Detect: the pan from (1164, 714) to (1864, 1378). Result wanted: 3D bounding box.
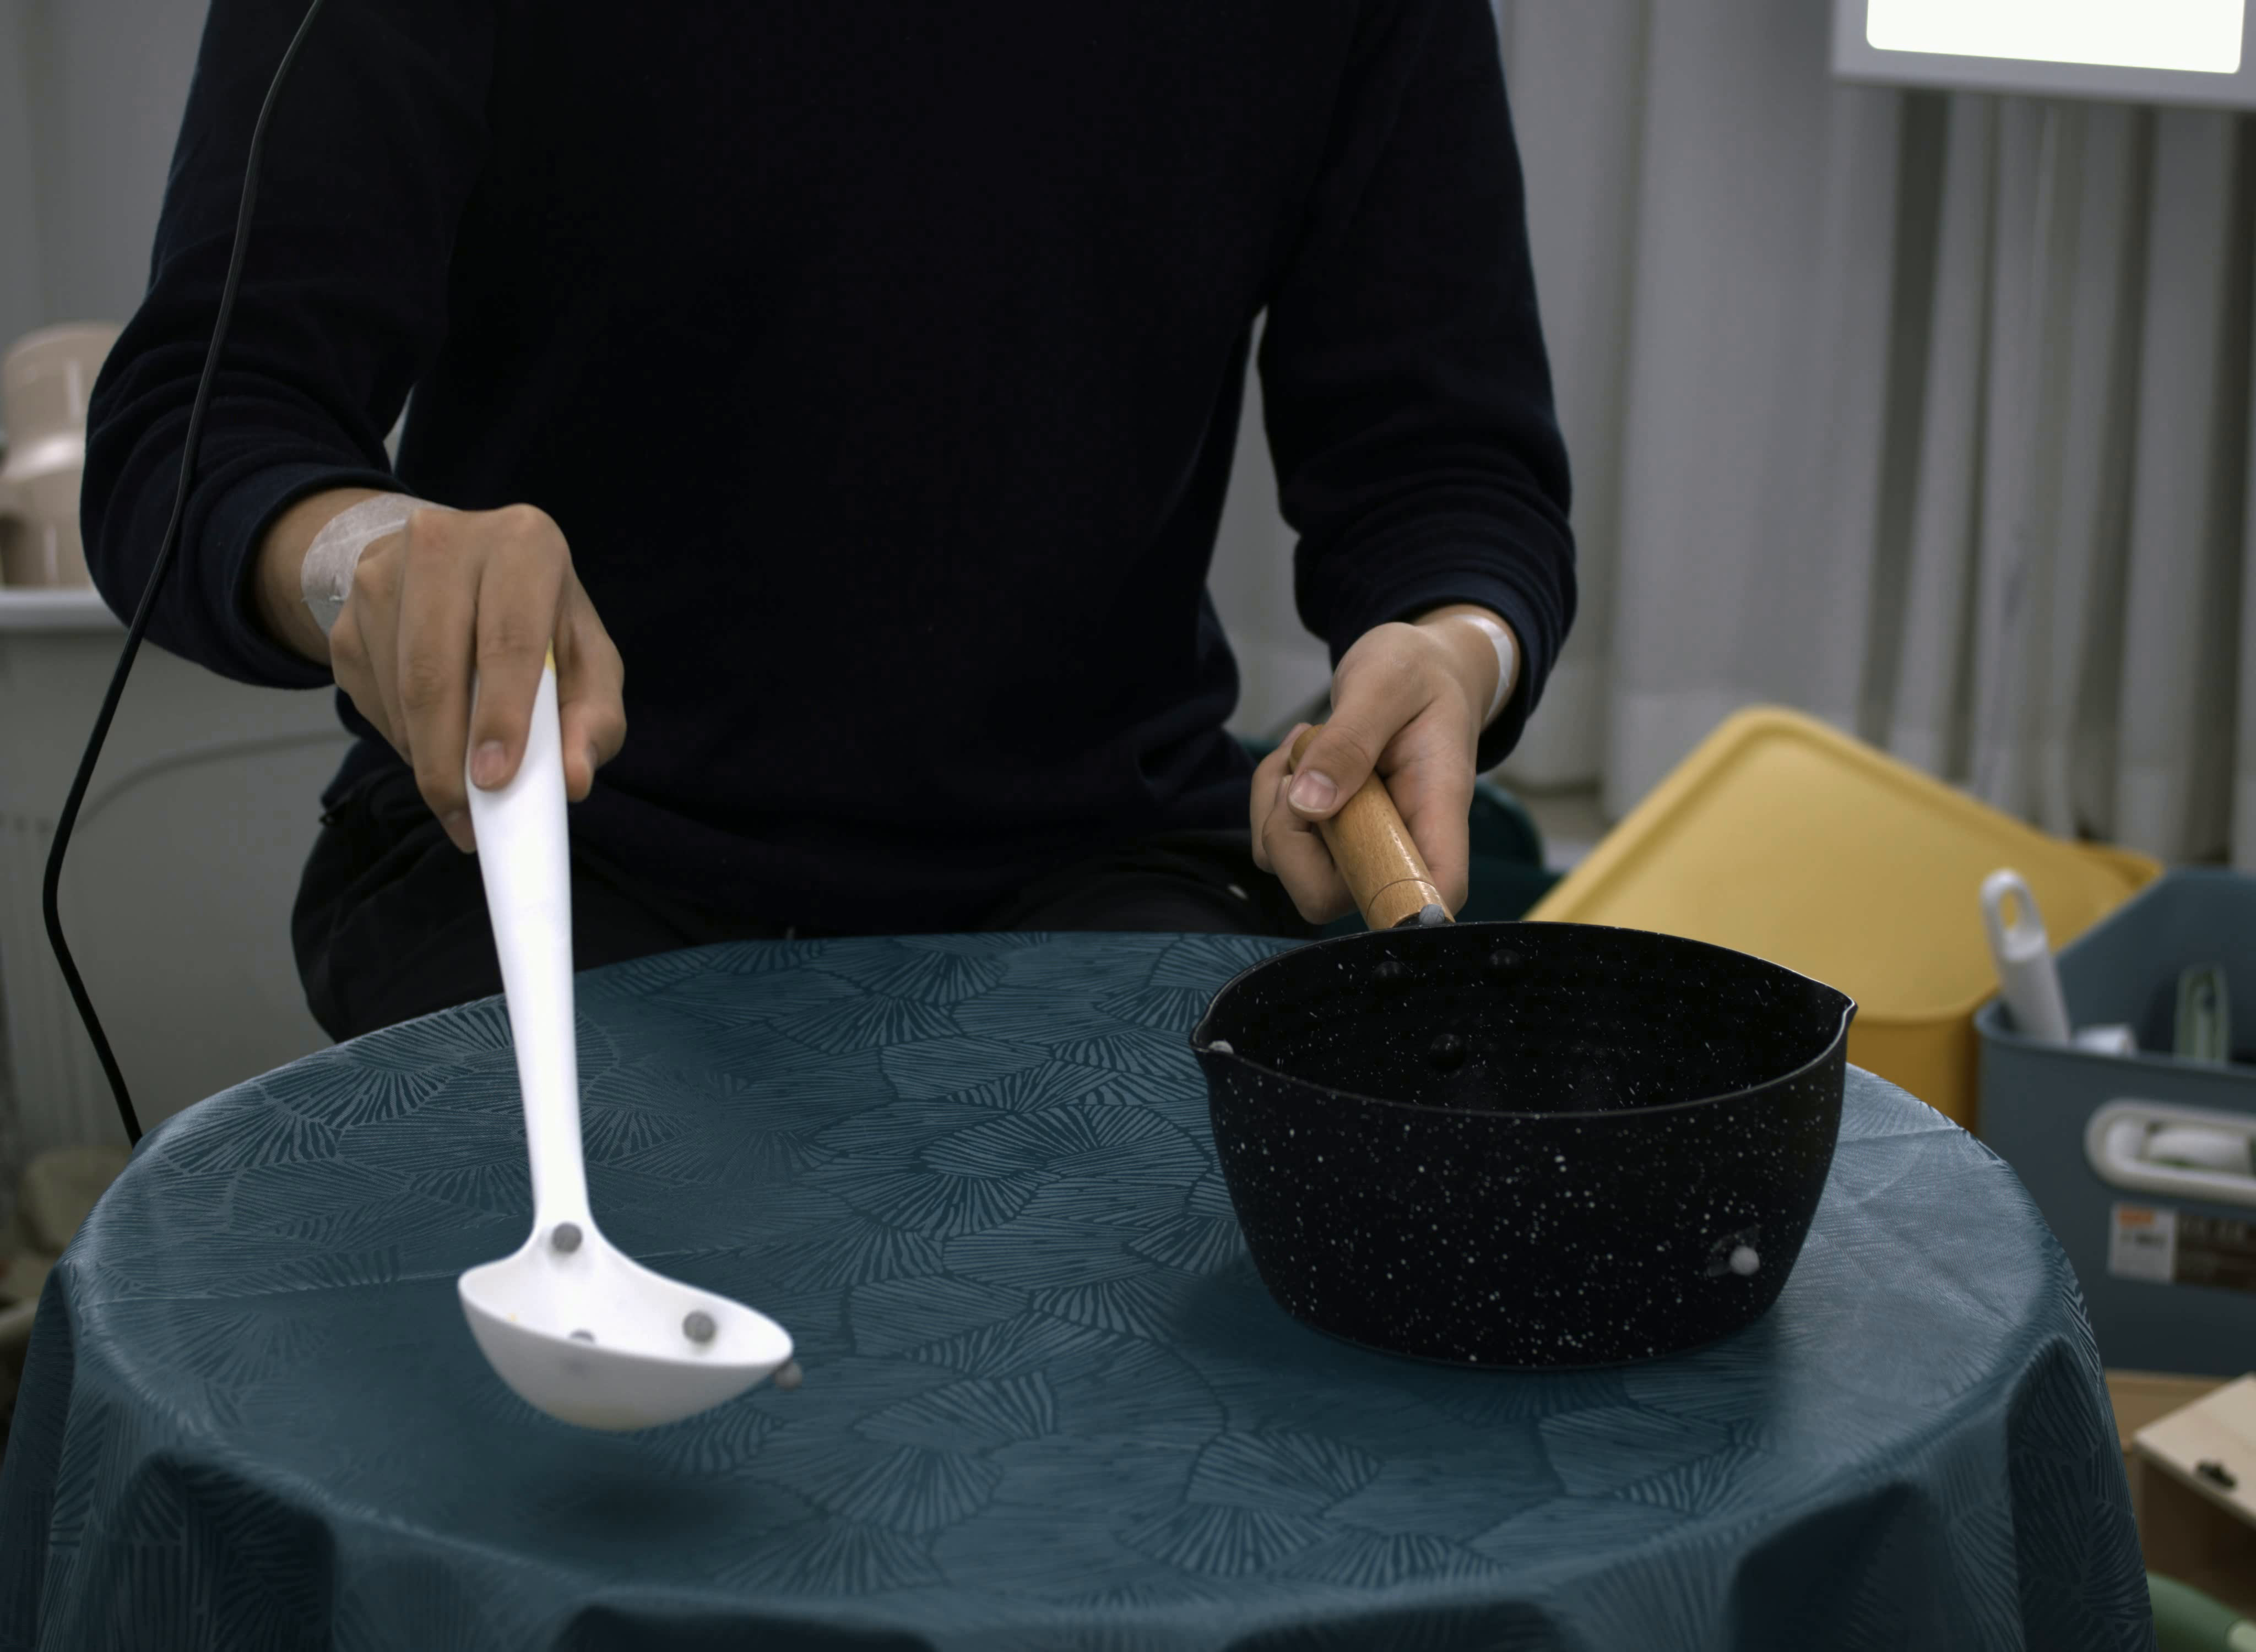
[{"bbox_3d":[0.097,0.061,1.605,0.207,0.109,0.339,-4,18,-12],"label":"pan"}]

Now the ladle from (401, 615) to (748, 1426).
[{"bbox_3d":[-0.163,0.044,1.437,0.090,0.070,0.290,3,49,-18],"label":"ladle"}]
